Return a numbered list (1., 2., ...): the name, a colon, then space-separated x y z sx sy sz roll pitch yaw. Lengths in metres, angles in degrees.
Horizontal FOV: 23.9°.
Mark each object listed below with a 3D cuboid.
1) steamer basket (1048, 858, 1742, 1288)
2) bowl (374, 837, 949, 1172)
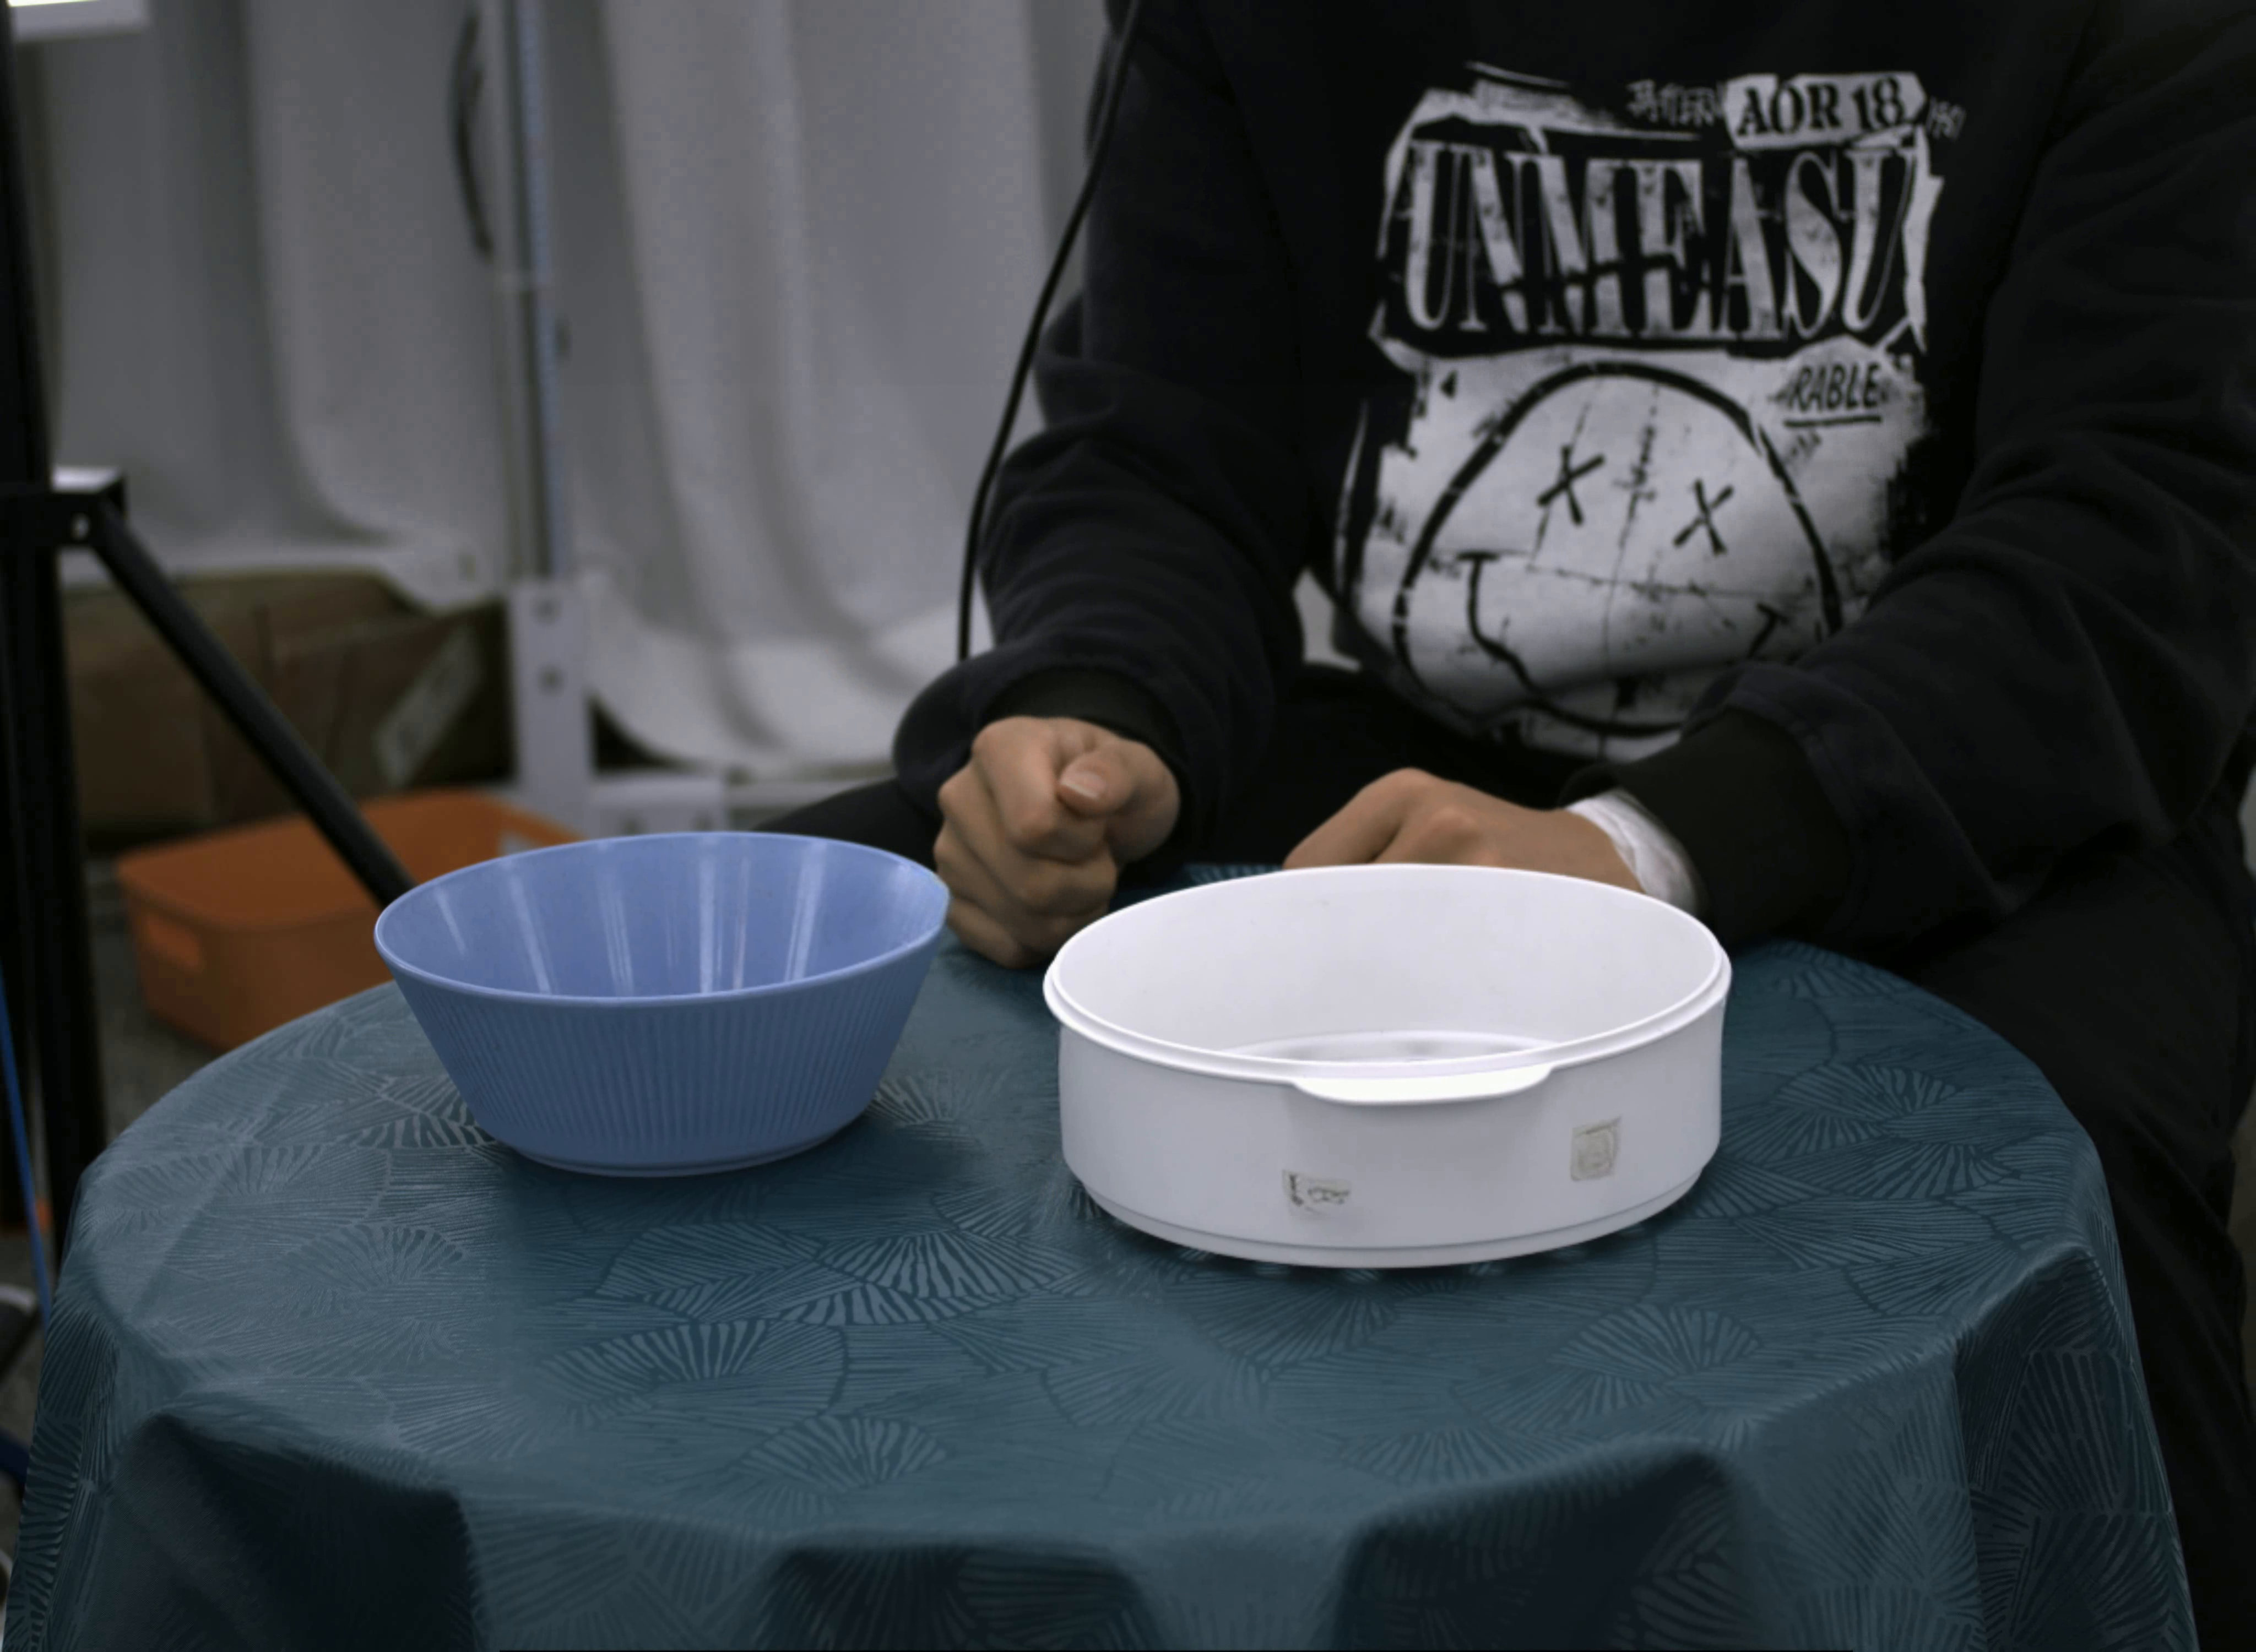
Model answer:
1. steamer basket: 0.078 0.072 1.548 0.200 0.069 0.232 -3 18 -2
2. bowl: -0.142 0.057 1.633 0.175 0.070 0.177 -2 16 -1
